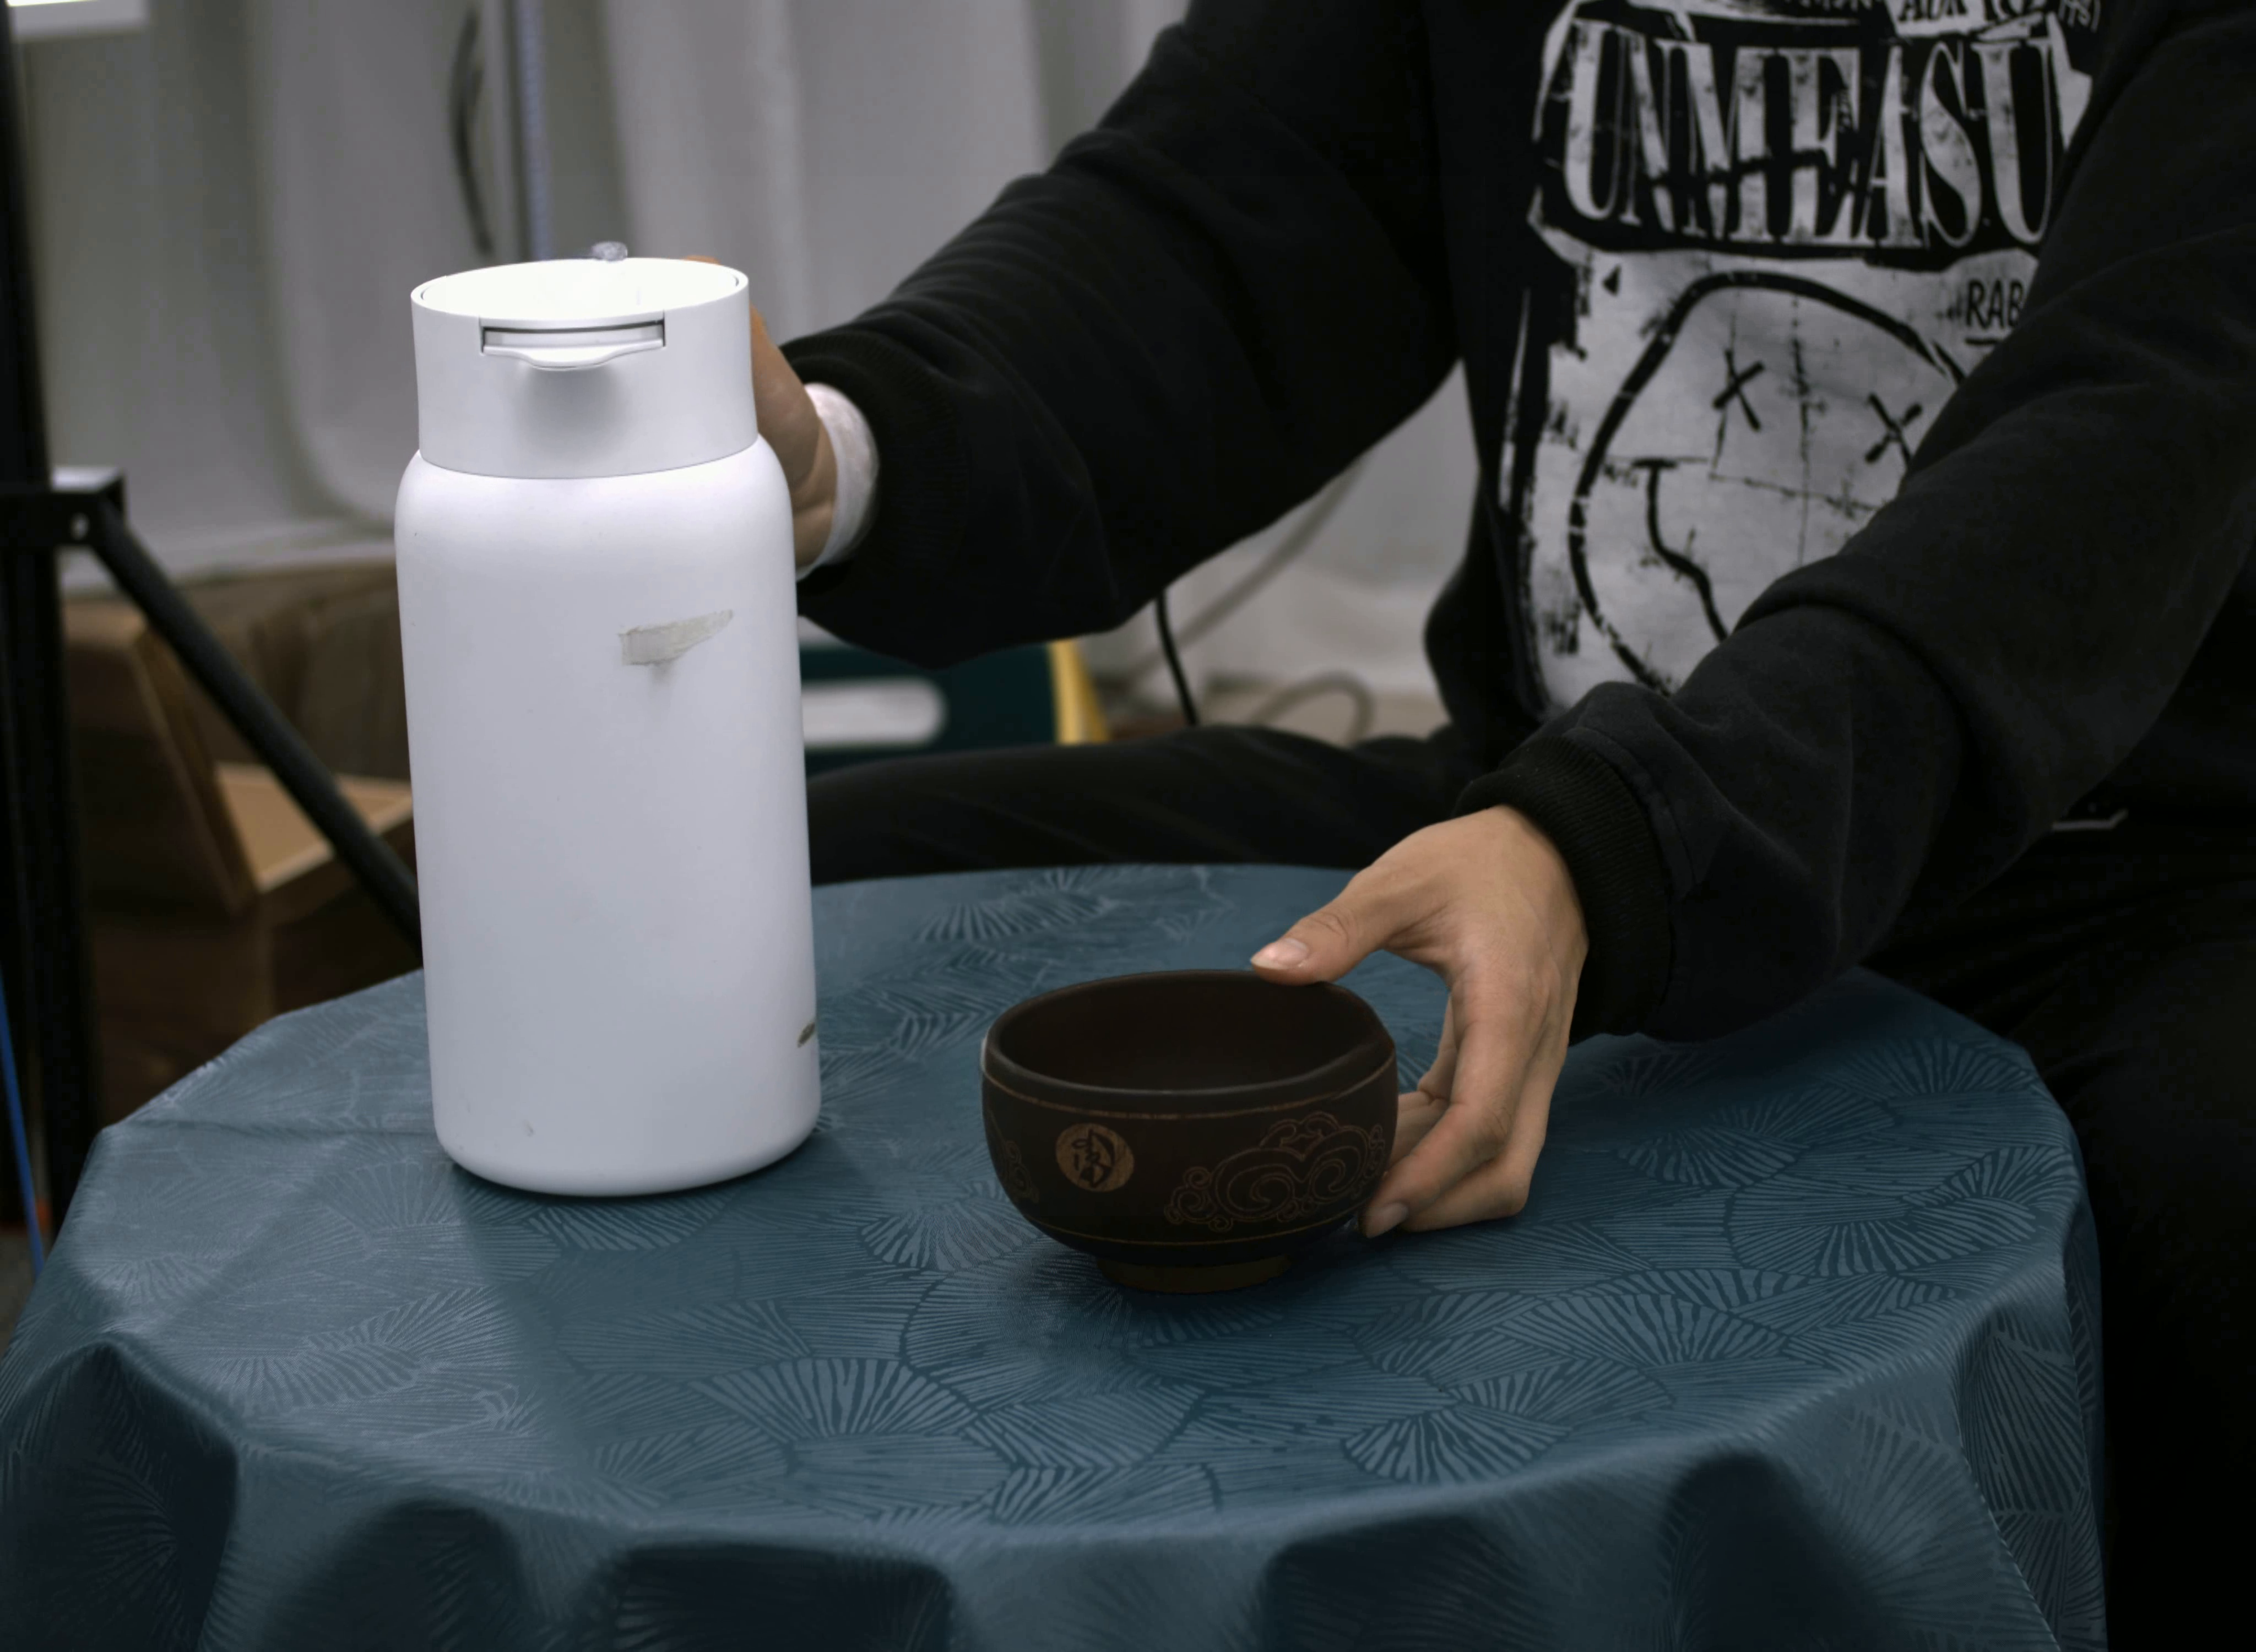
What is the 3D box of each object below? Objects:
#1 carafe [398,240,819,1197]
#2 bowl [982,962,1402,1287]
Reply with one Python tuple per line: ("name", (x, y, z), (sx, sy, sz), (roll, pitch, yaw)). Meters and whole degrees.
("carafe", (-0.157, -0.036, 1.603), (0.123, 0.269, 0.174), (-4, 15, -1))
("bowl", (0.019, 0.088, 1.489), (0.117, 0.070, 0.118), (-3, 15, -1))
